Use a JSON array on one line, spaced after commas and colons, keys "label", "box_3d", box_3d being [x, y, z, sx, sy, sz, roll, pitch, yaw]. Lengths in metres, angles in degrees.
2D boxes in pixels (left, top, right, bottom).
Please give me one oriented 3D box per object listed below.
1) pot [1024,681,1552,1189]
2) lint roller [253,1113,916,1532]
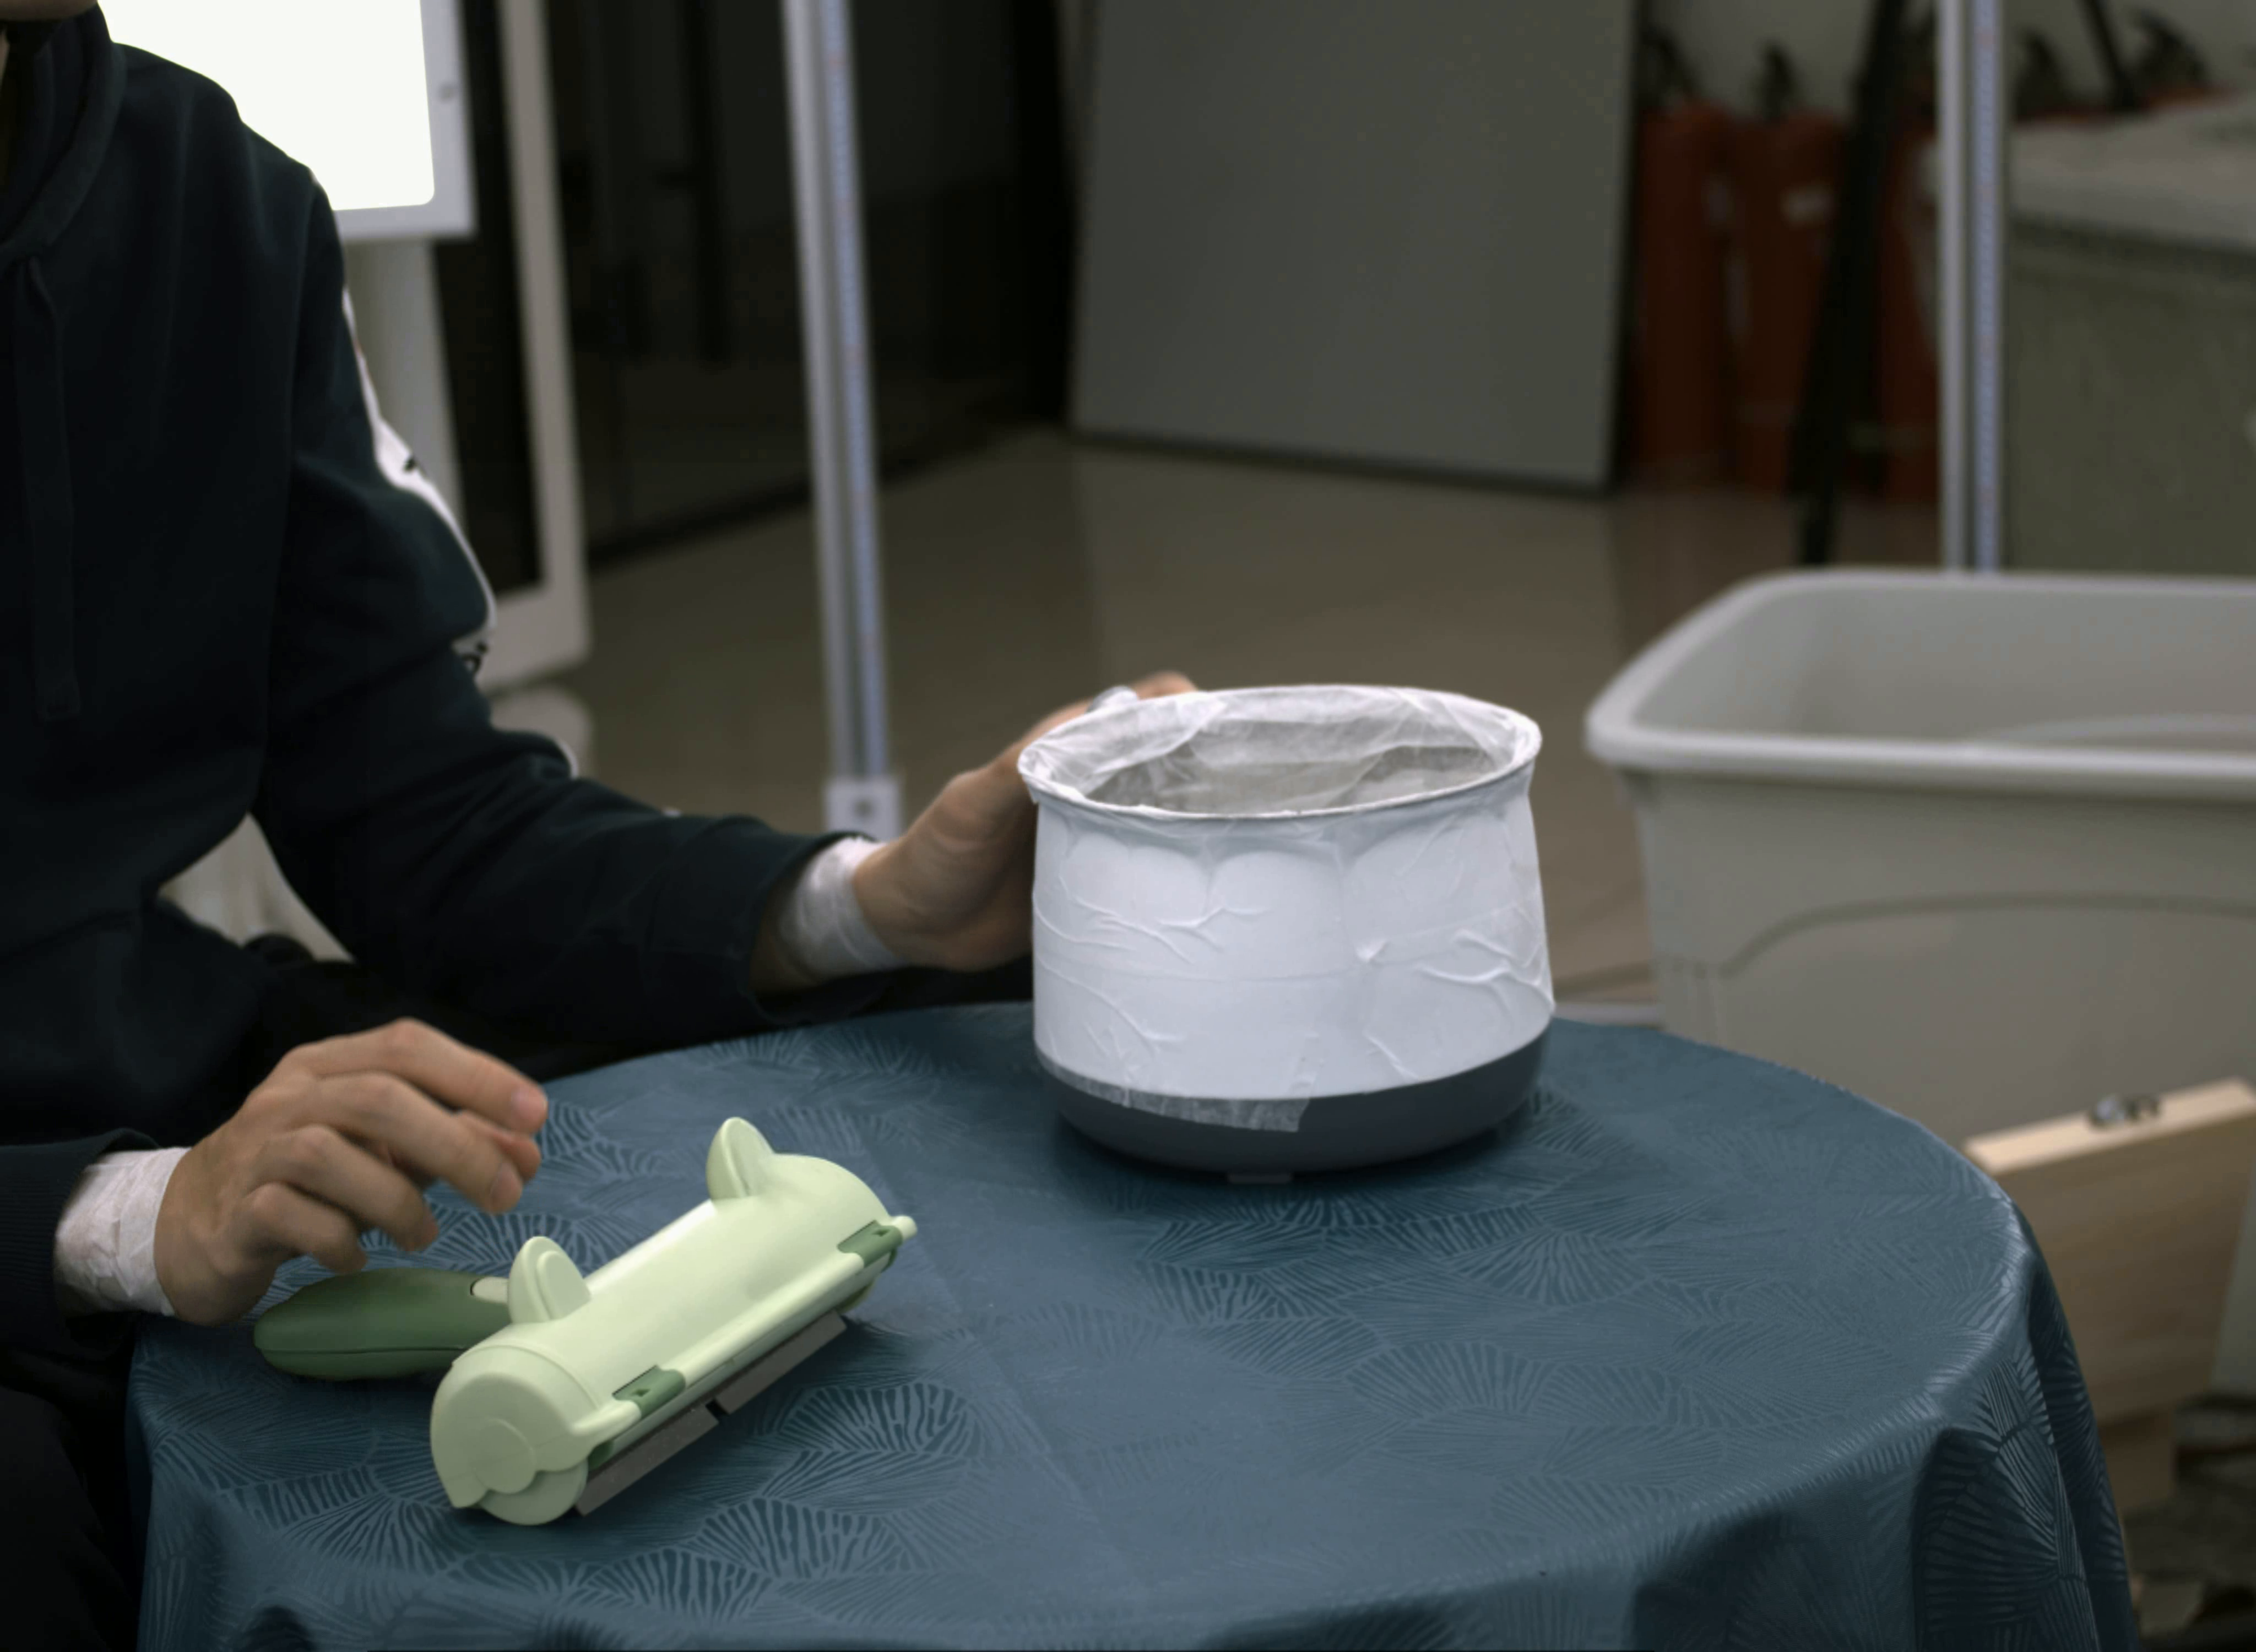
[{"label": "pot", "box_3d": [0.039, 0.030, 1.839, 0.175, 0.138, 0.236, -12, 16, -31]}, {"label": "lint roller", "box_3d": [-0.184, 0.135, 1.610, 0.183, 0.083, 0.196, 8, 18, 25]}]
